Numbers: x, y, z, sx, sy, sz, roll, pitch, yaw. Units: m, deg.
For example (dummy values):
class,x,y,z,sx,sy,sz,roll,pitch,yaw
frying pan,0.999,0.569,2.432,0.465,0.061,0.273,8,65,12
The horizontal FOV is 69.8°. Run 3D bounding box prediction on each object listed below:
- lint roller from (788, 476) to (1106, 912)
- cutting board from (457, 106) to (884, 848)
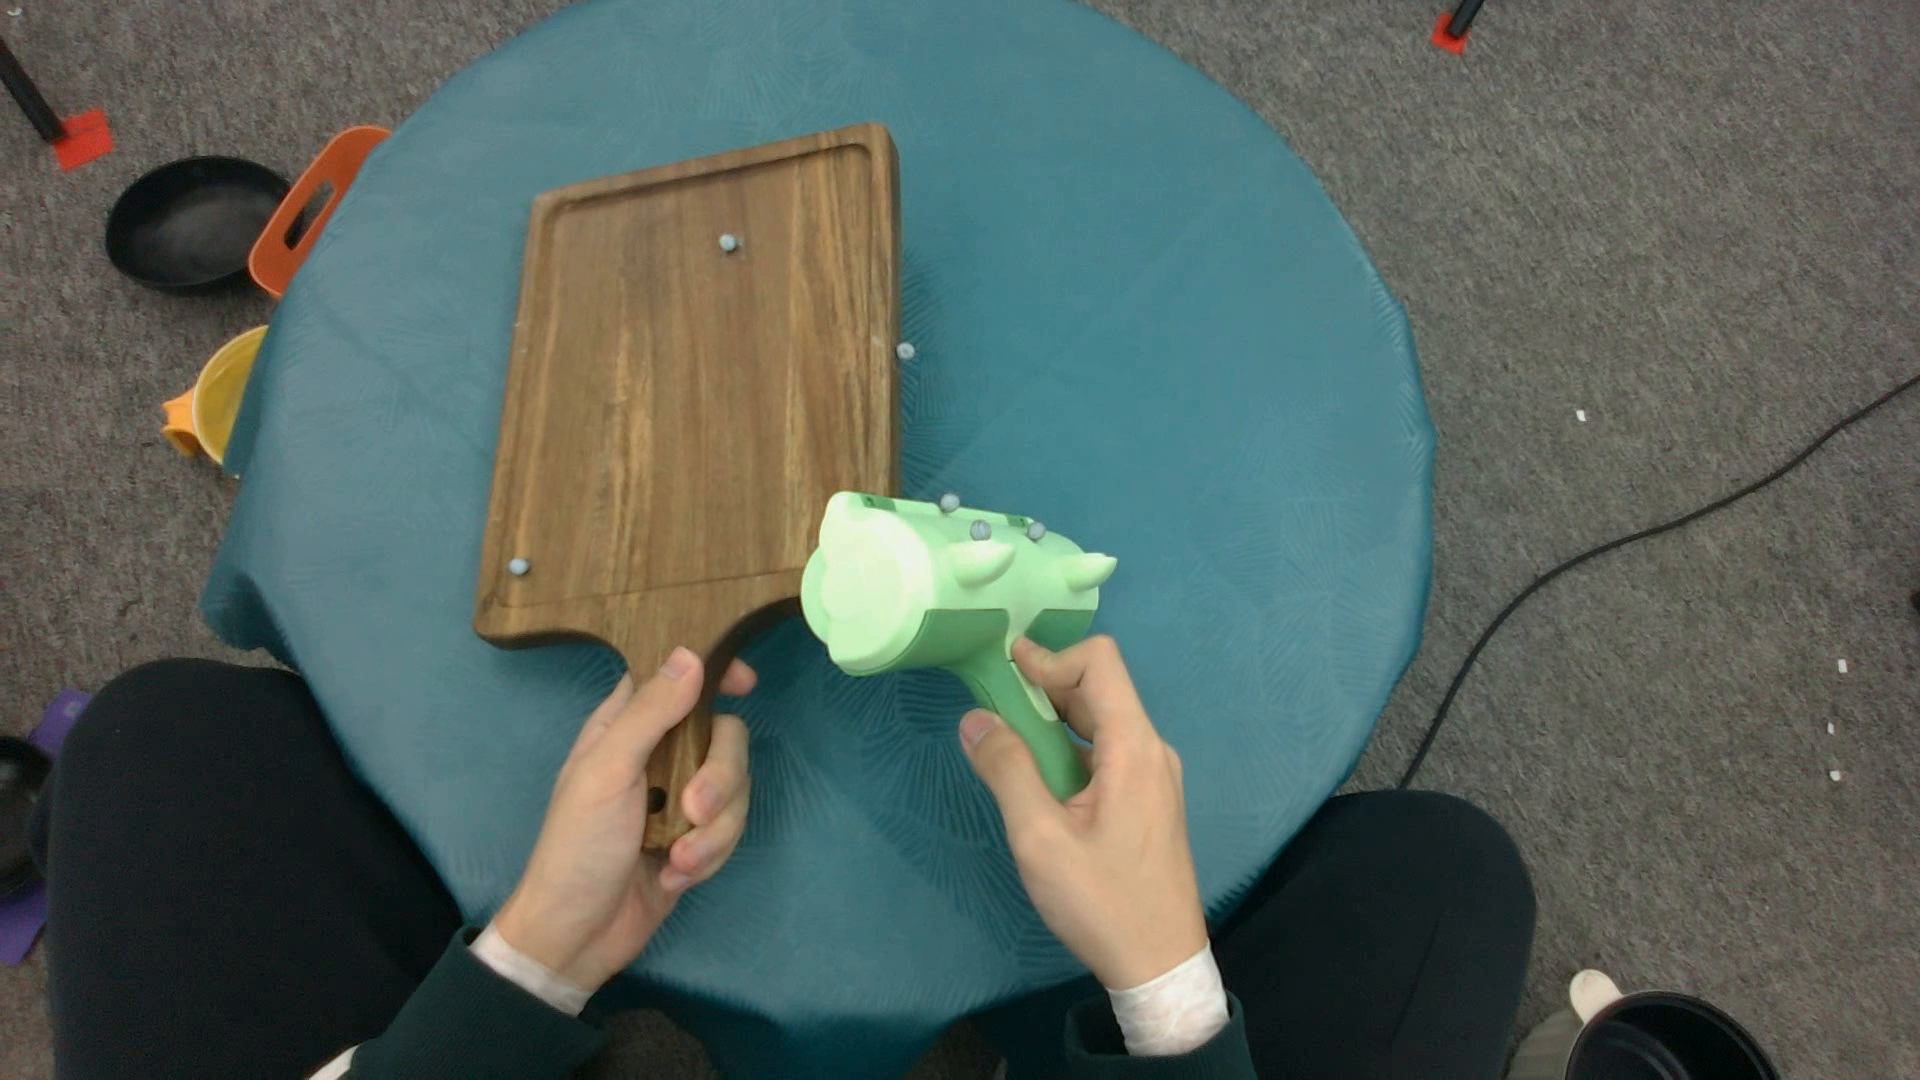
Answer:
class,x,y,z,sx,sy,sz,roll,pitch,yaw
lint roller,0.029,0.056,0.568,0.082,0.199,0.183,-37,74,18
cutting board,-0.133,-0.037,0.626,0.201,0.023,0.353,-10,64,12
